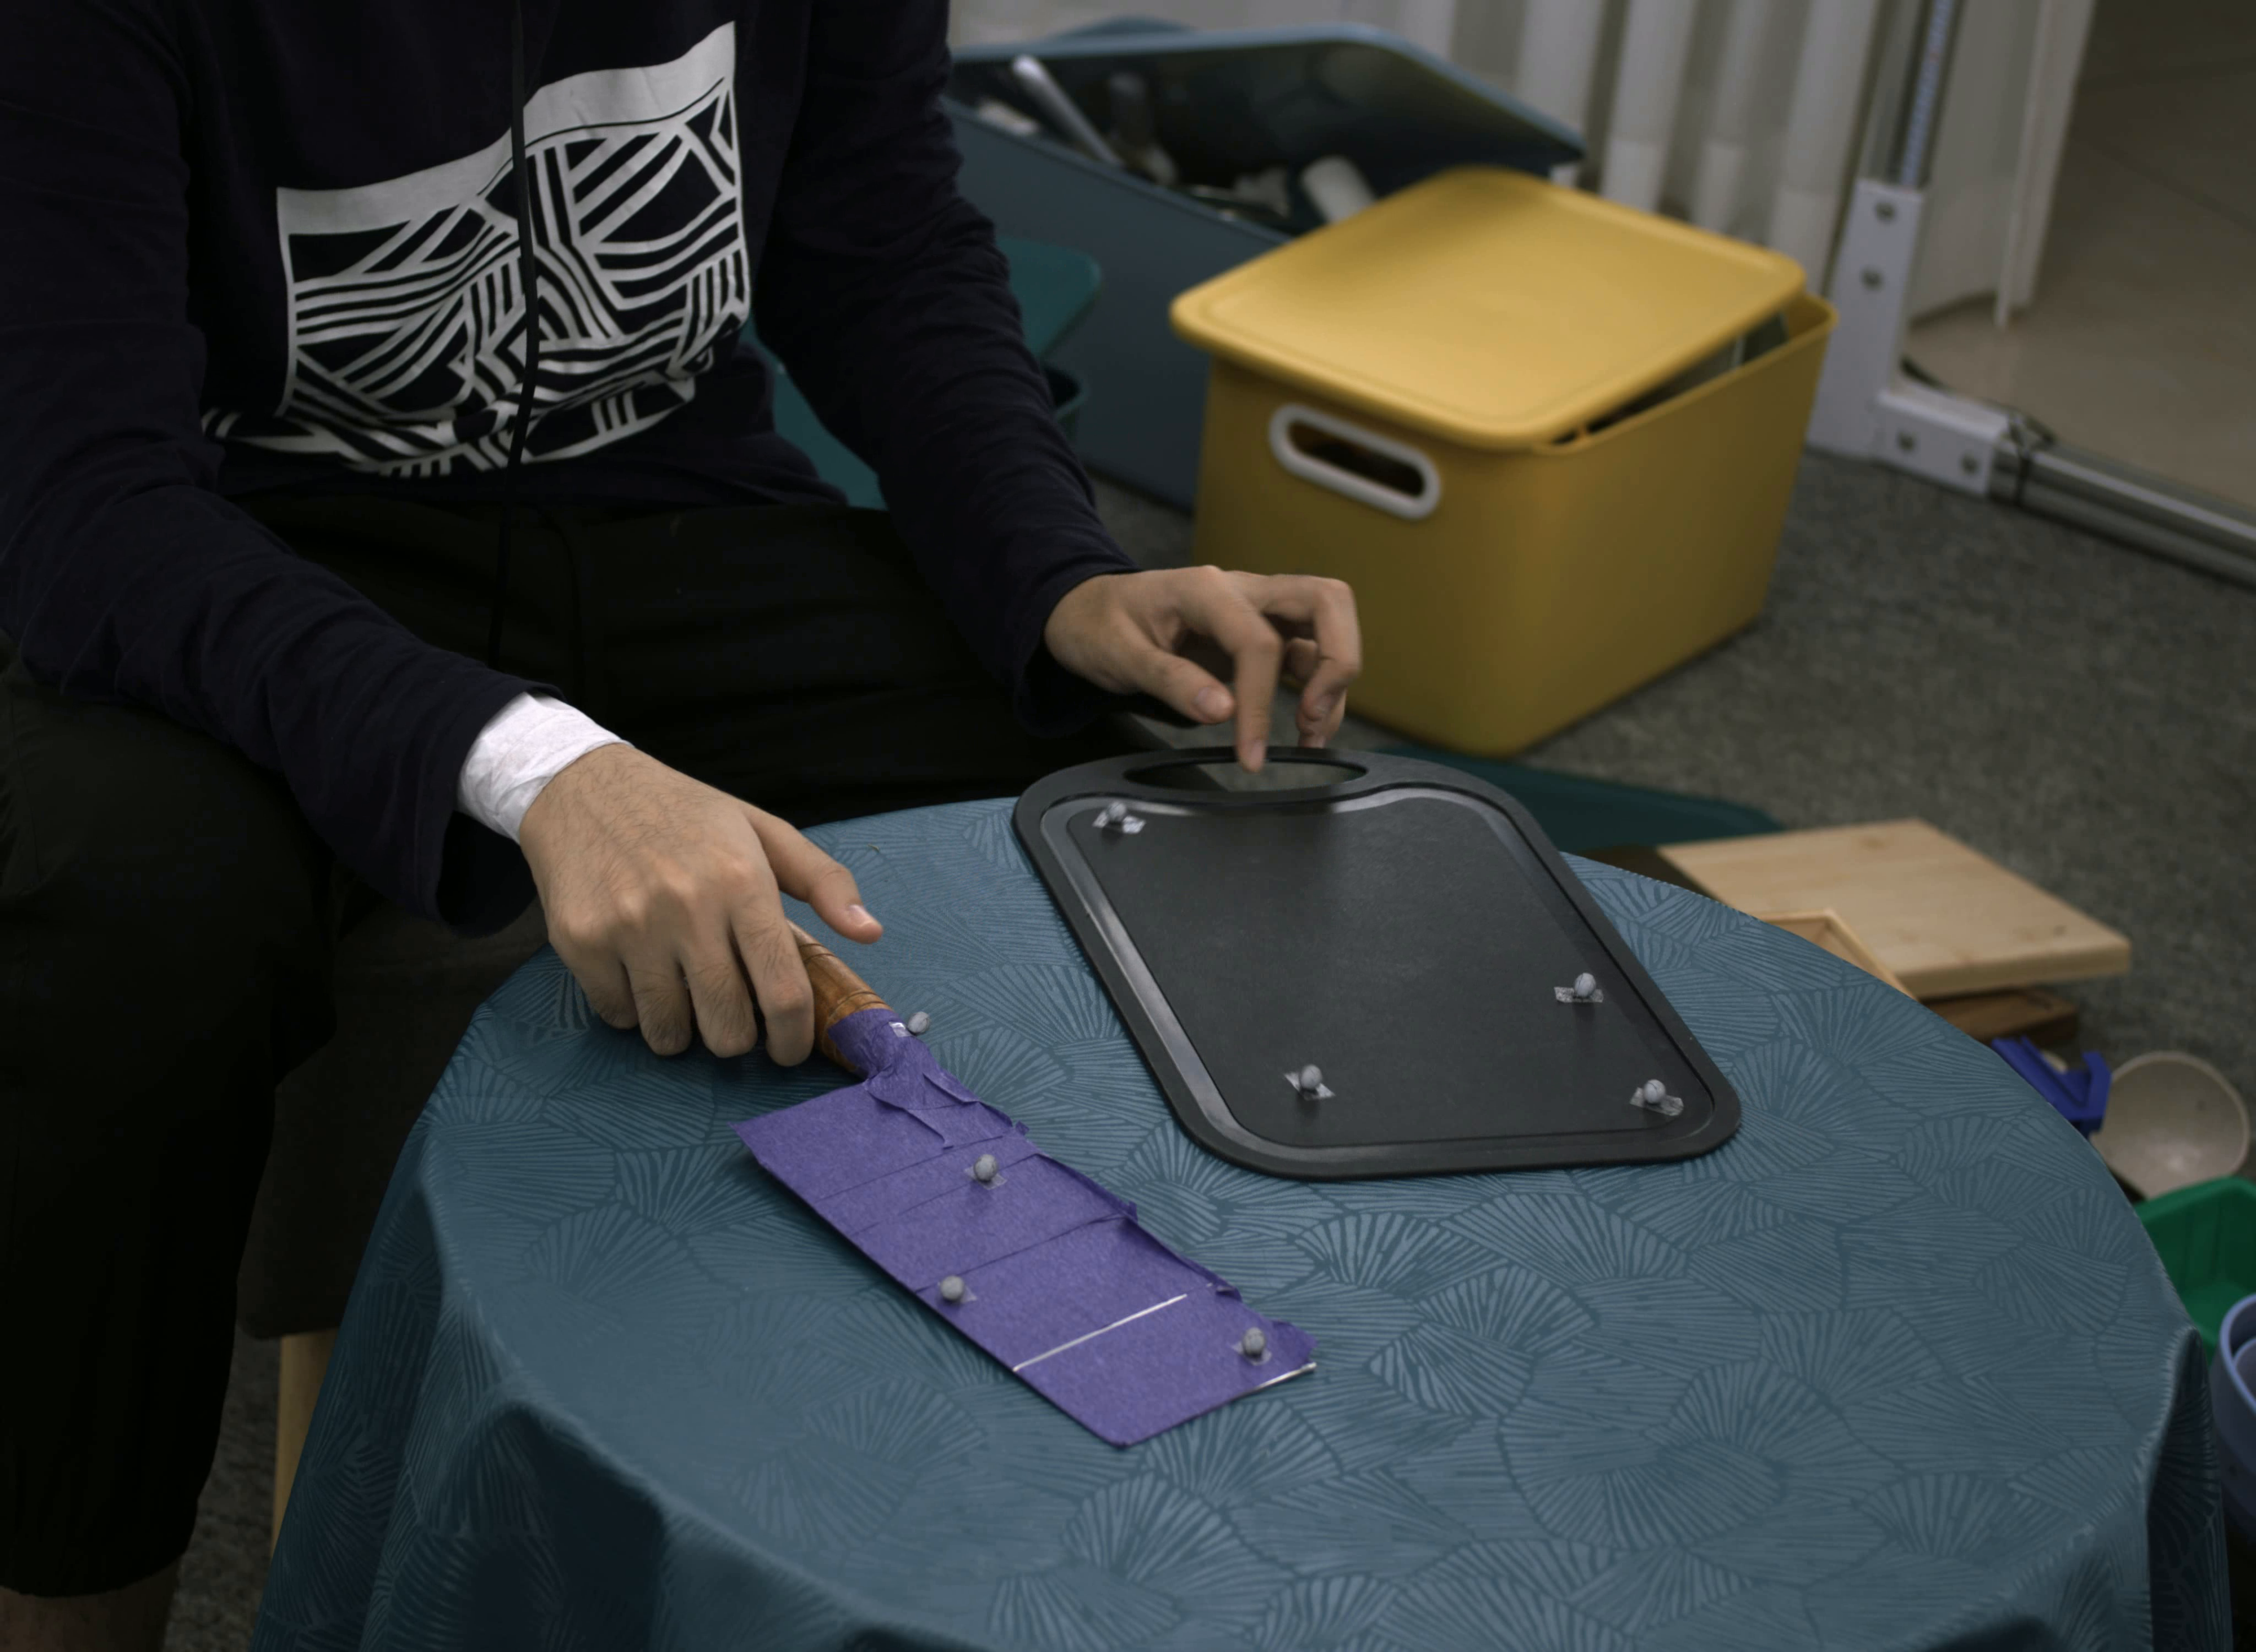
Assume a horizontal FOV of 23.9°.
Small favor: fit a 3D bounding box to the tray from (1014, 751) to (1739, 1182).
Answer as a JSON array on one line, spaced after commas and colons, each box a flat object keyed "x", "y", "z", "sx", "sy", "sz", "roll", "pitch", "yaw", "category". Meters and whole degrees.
[{"x": 0.083, "y": 0.044, "z": 1.975, "sx": 0.210, "sy": 0.010, "sz": 0.328, "roll": -2, "pitch": 28, "yaw": -17, "category": "tray"}]

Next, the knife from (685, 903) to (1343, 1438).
[{"x": -0.068, "y": 0.111, "z": 1.785, "sx": 0.103, "sy": 0.032, "sz": 0.318, "roll": -17, "pitch": 35, "yaw": -38, "category": "knife"}]
